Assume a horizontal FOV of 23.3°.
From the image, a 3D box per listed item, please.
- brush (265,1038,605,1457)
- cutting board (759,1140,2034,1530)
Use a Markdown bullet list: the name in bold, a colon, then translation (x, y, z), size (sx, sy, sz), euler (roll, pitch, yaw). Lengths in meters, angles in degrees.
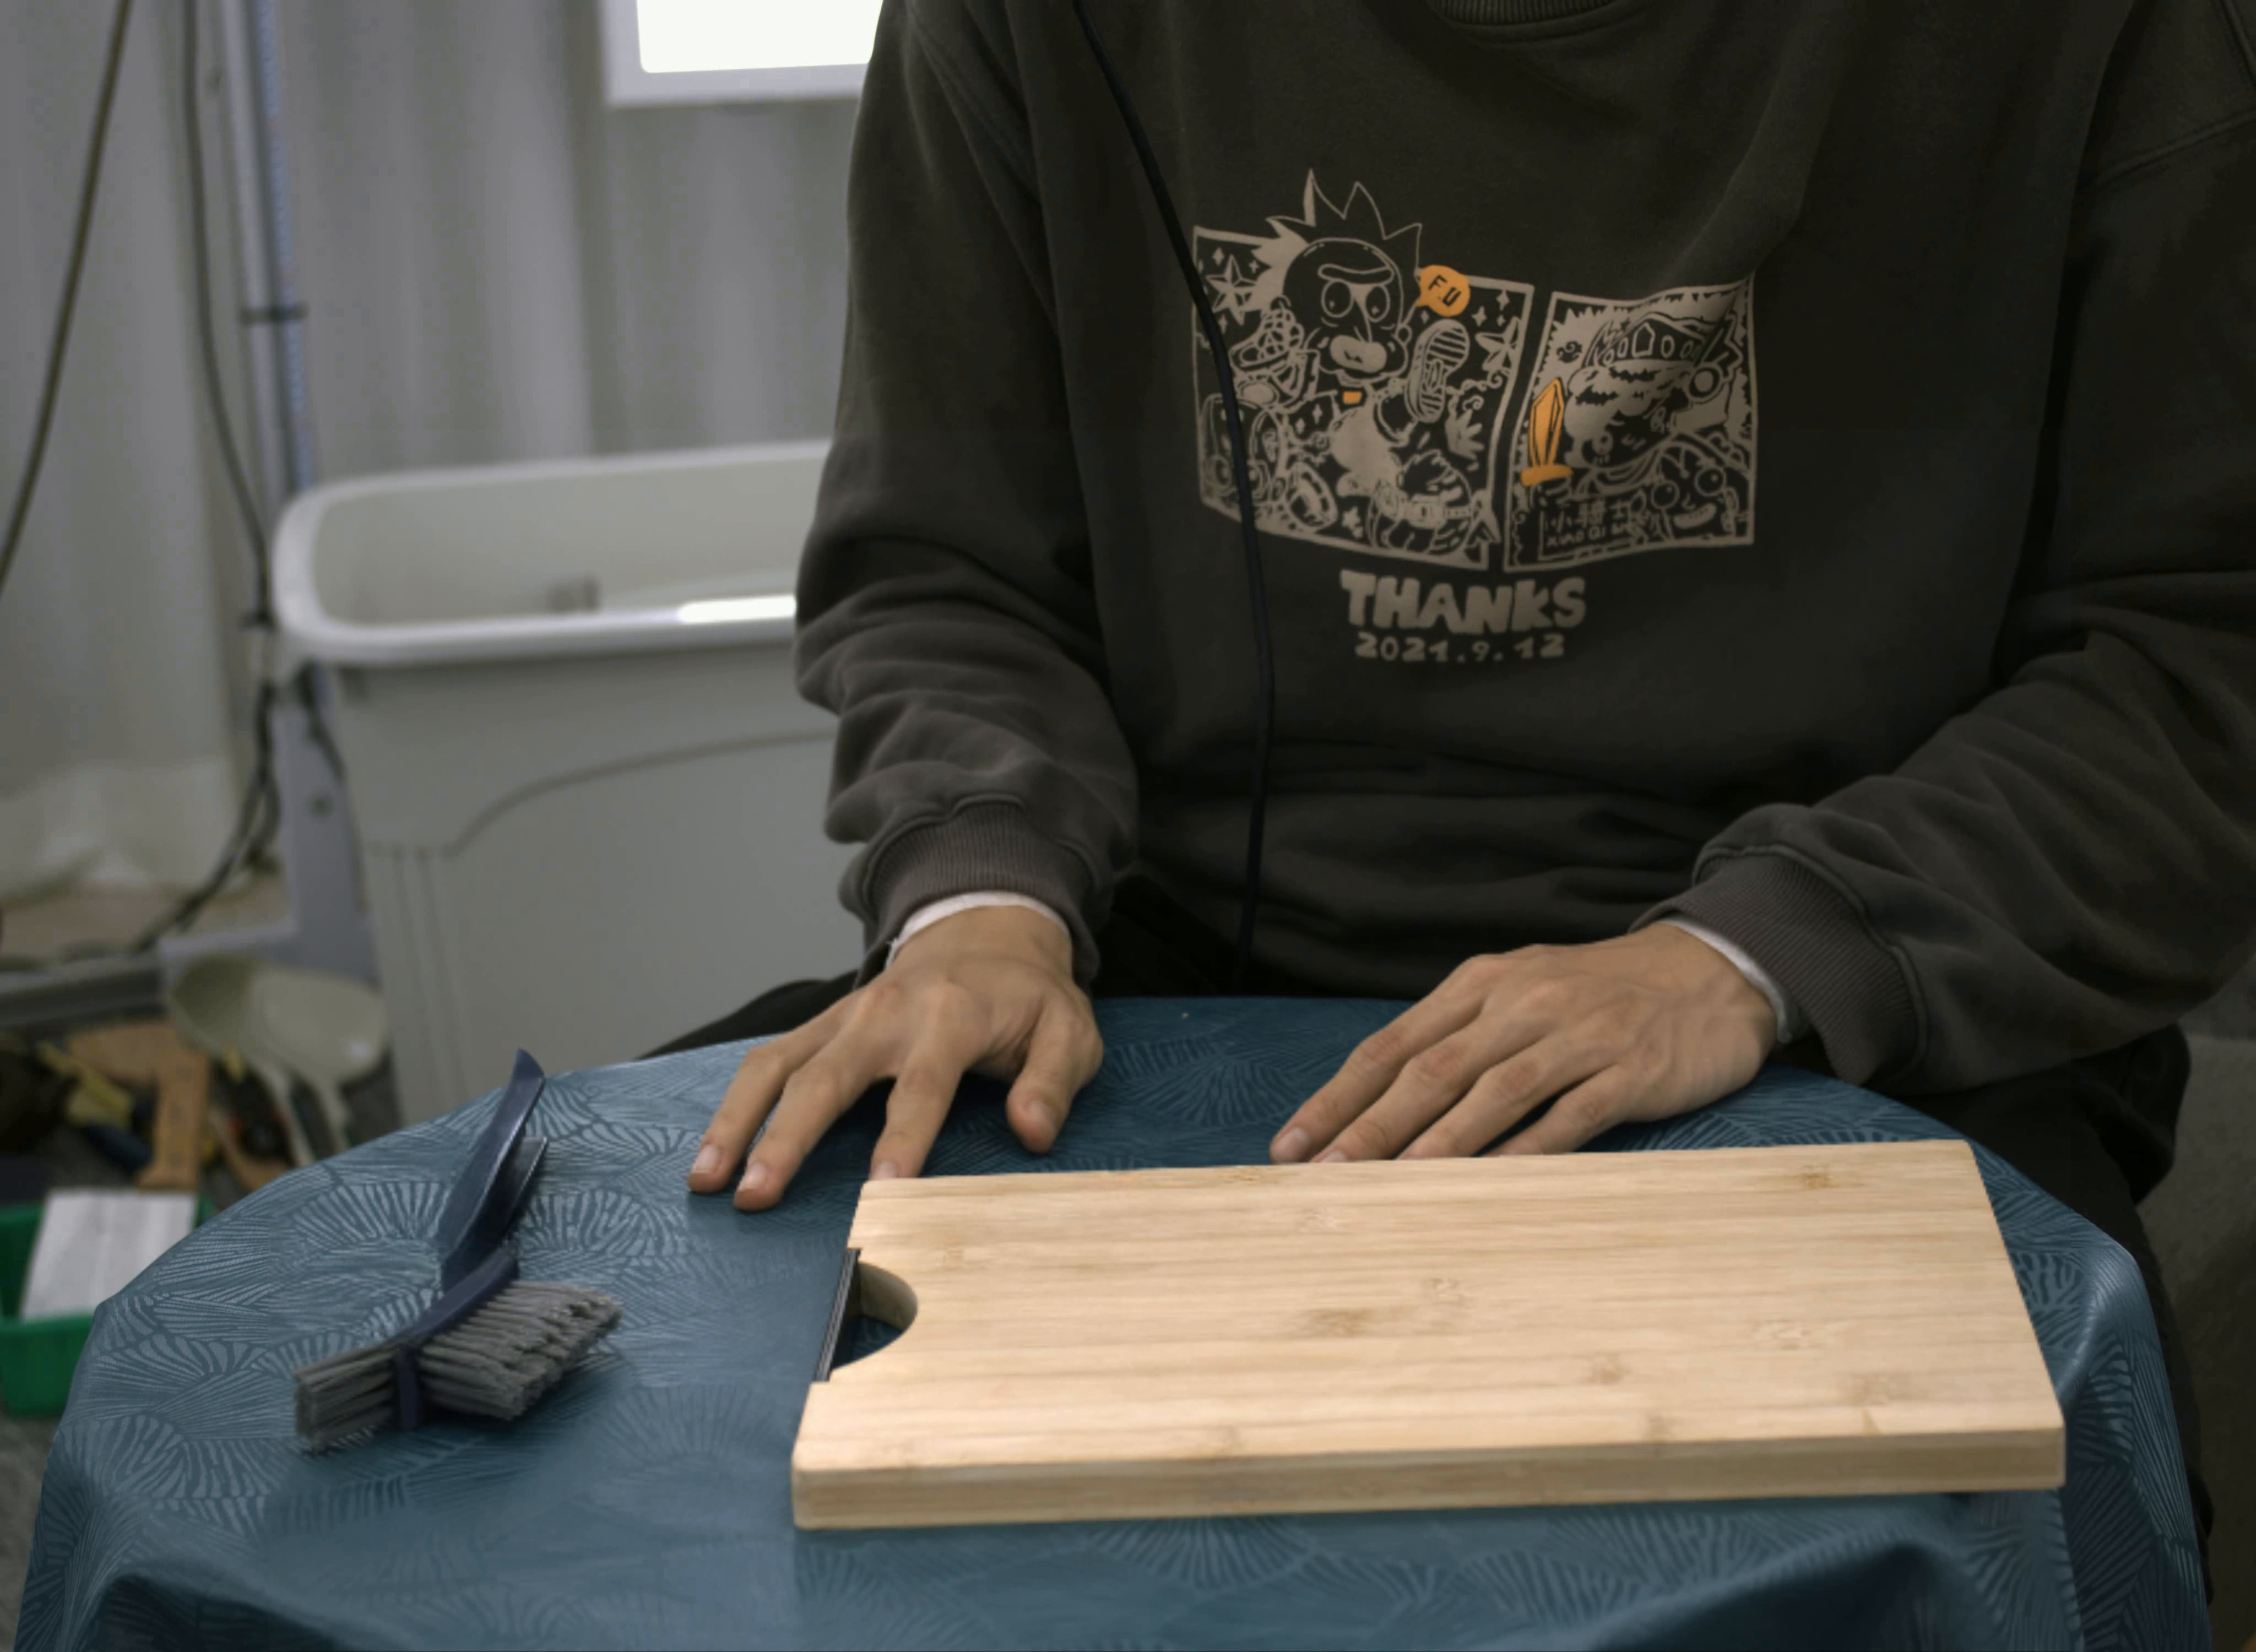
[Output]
- **brush**: translation (-0.206, 0.125, 1.666), size (0.095, 0.033, 0.275), euler (-4, 16, -4)
- **cutting board**: translation (0.077, 0.144, 1.568), size (0.347, 0.023, 0.252), euler (-2, 15, 2)
